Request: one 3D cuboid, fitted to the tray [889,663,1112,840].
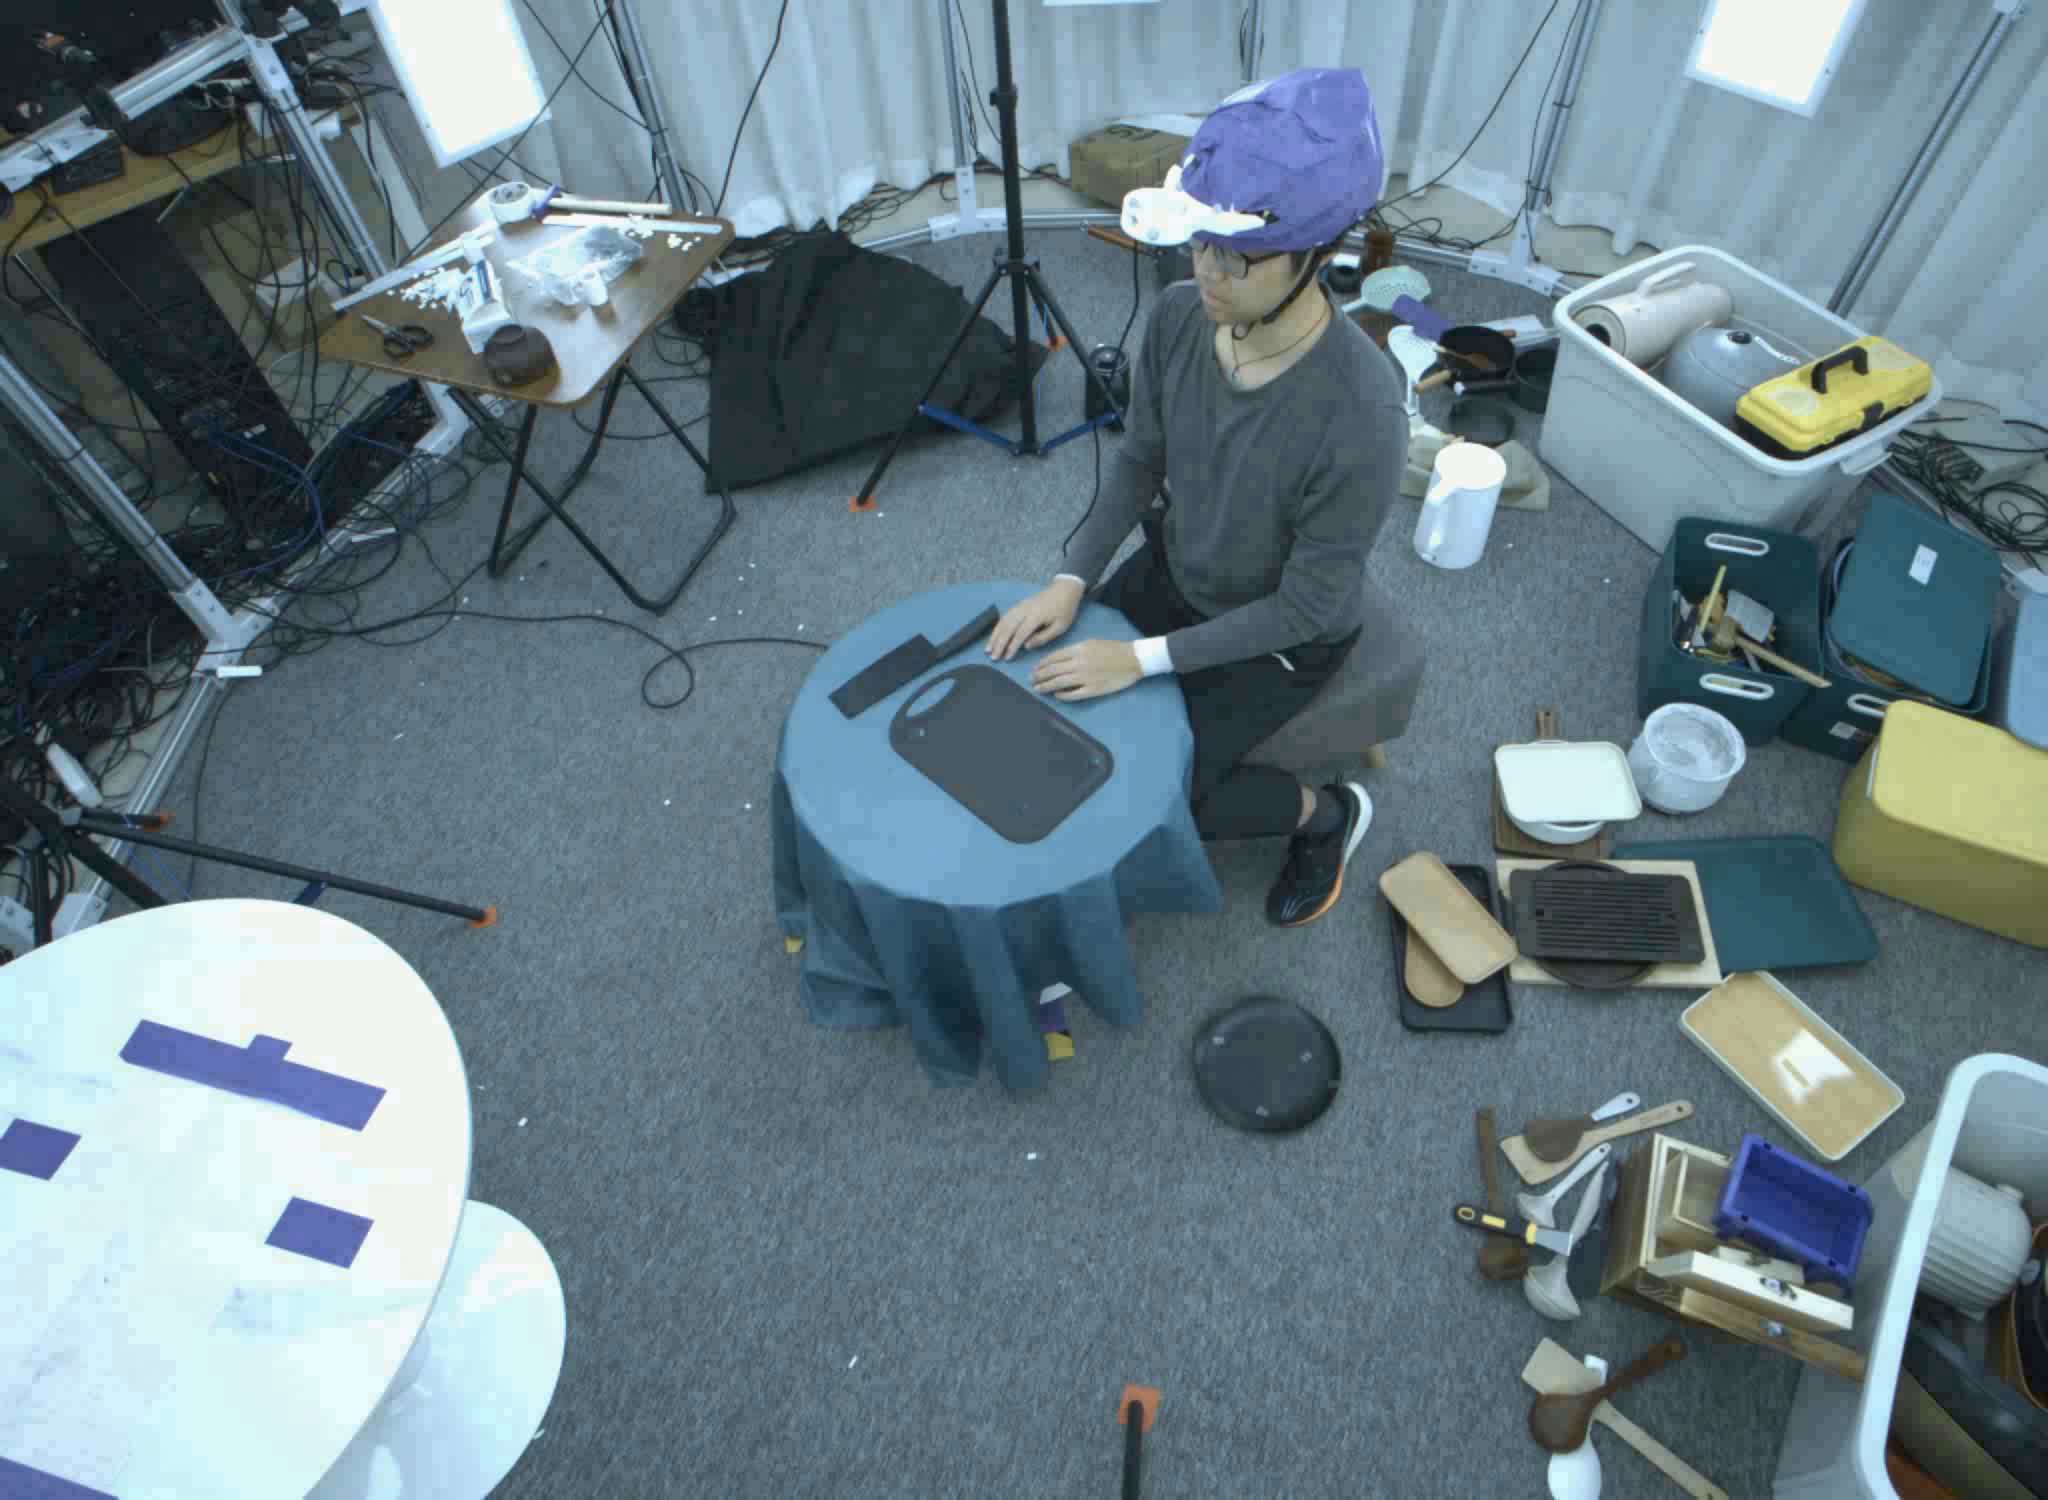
[{"bbox_3d":[-0.044,-0.009,1.799,0.319,0.010,0.212,37,63,24],"label":"tray"}]

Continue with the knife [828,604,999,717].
[{"bbox_3d":[-0.165,-0.146,1.896,0.304,0.021,0.079,-32,58,-18],"label":"knife"}]
